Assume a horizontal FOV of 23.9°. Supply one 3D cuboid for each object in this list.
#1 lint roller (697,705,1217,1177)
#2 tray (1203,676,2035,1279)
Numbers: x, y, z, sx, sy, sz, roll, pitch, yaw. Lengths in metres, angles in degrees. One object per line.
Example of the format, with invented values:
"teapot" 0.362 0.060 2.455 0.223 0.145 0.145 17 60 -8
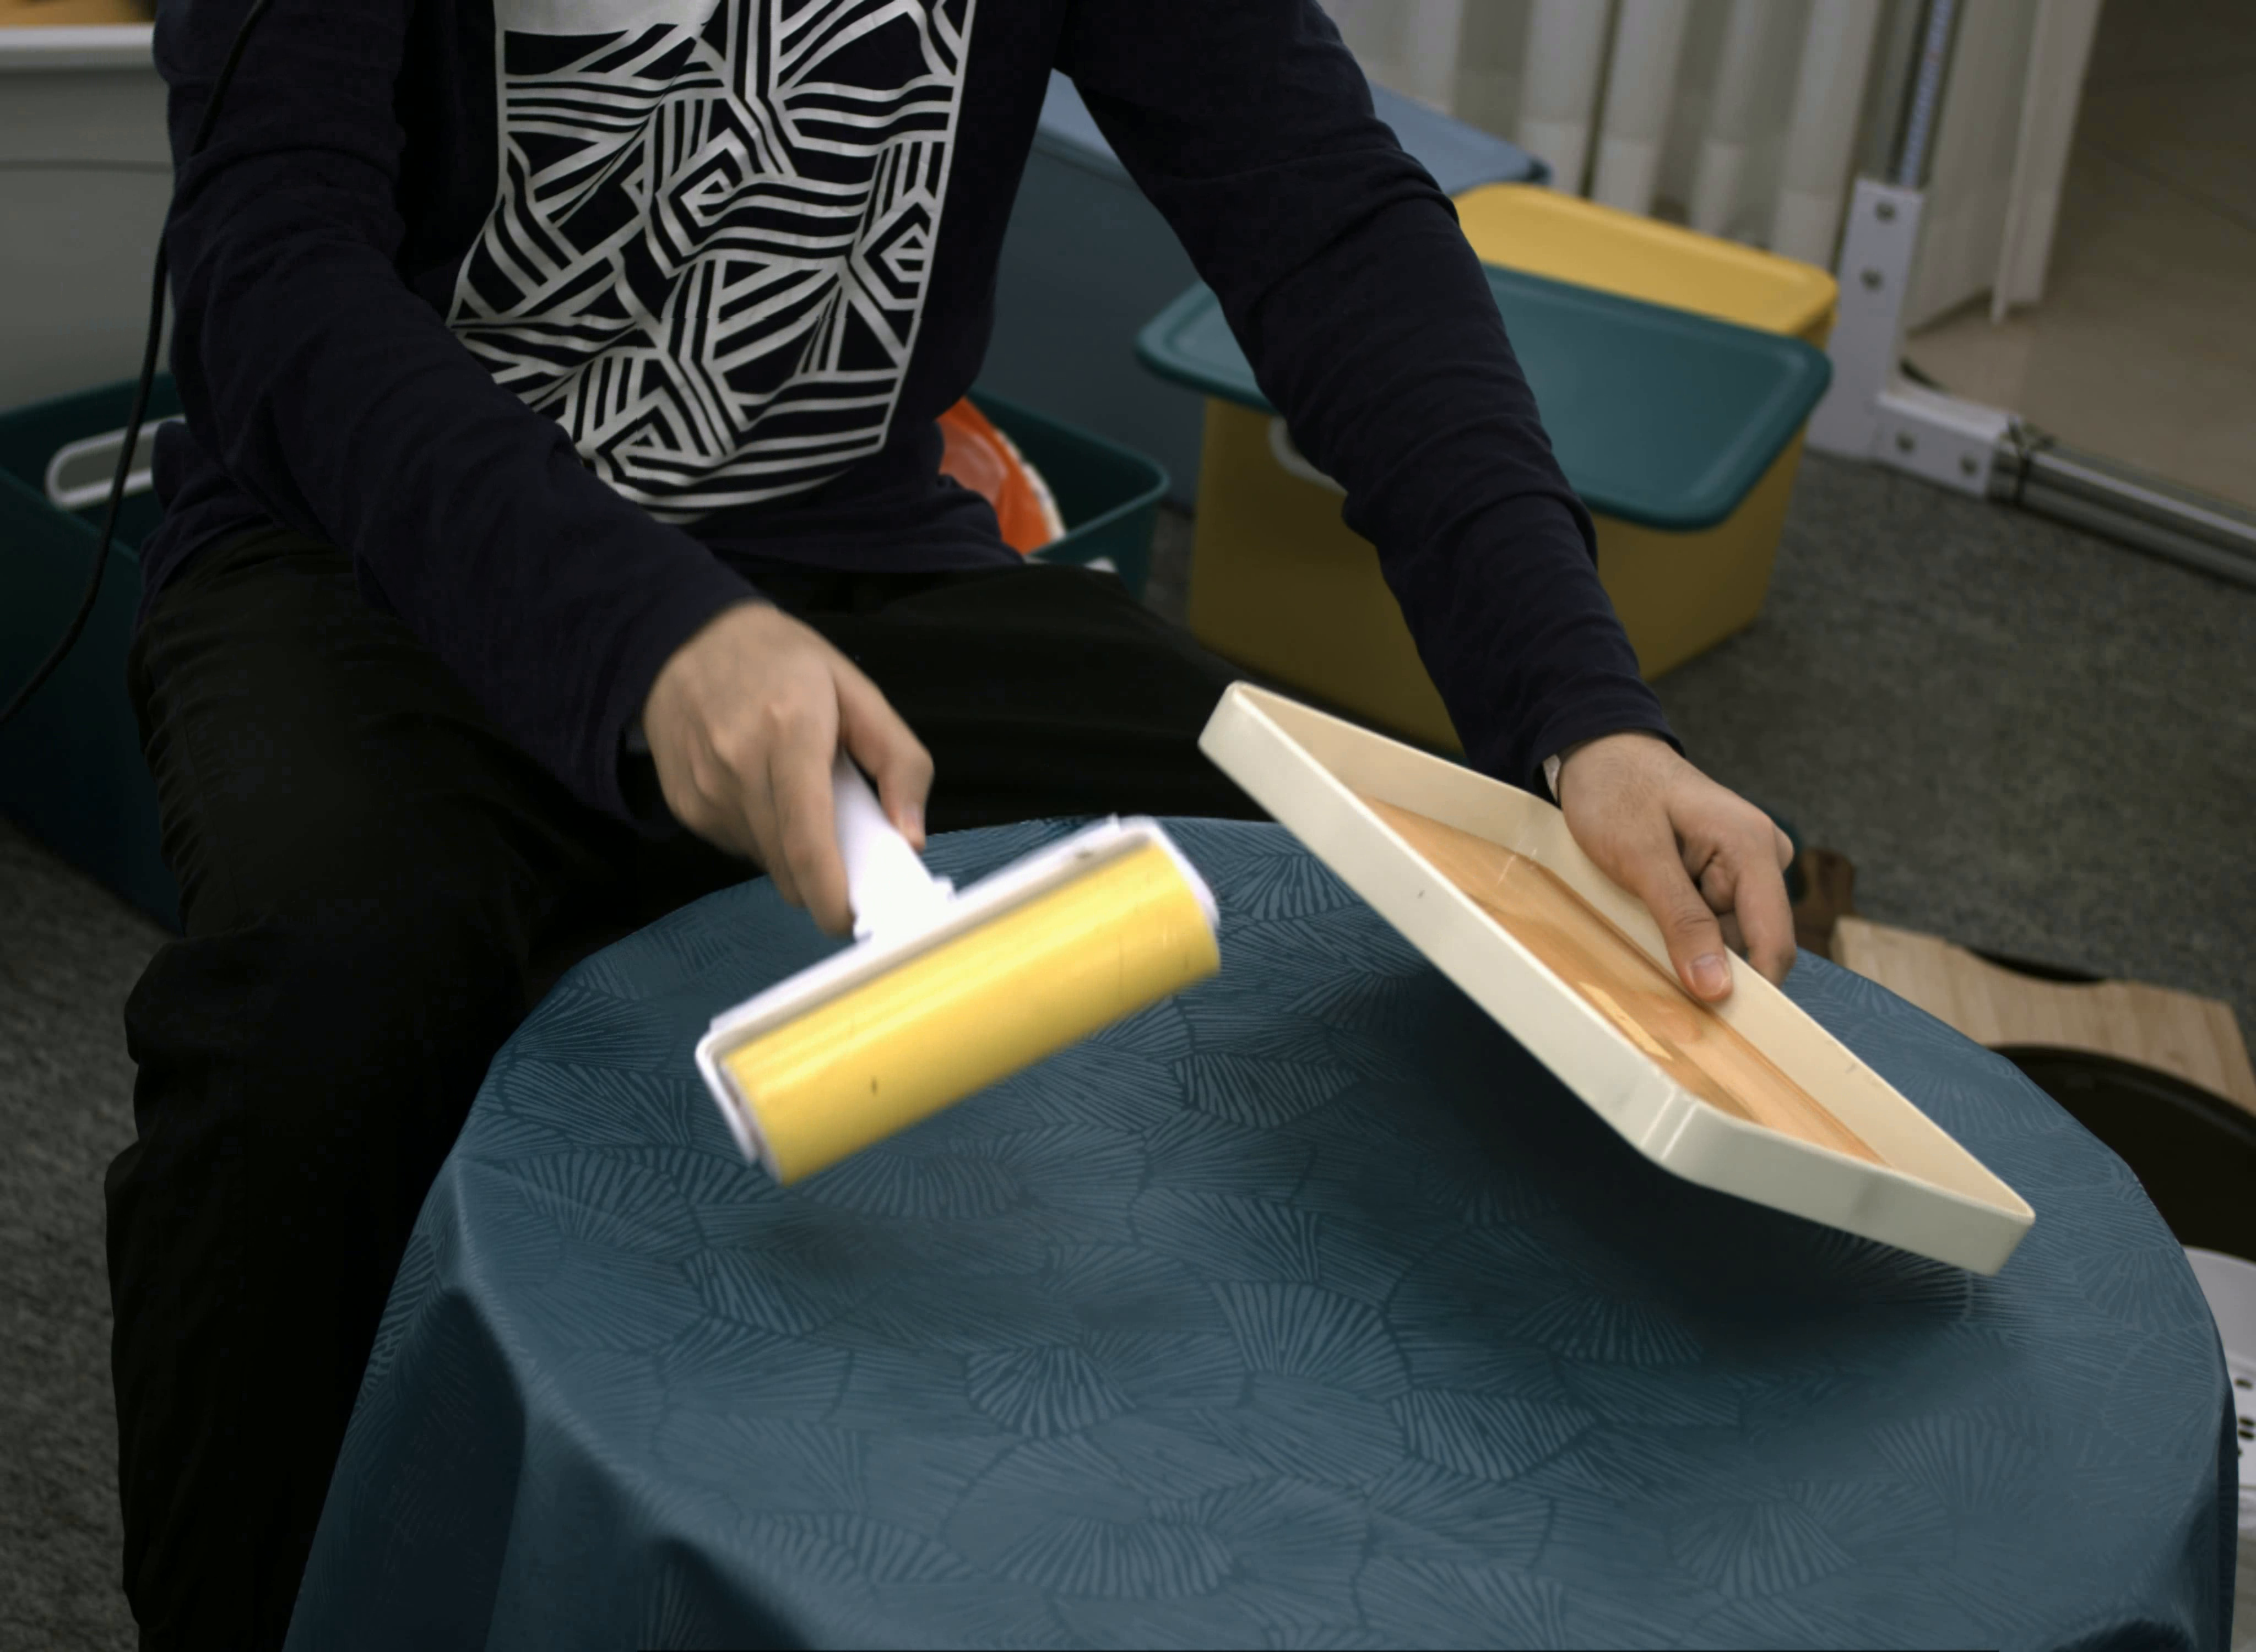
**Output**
"lint roller" -0.086 0.012 1.776 0.174 0.051 0.194 -28 52 -10
"tray" 0.165 0.050 1.838 0.190 0.027 0.303 21 15 -41
